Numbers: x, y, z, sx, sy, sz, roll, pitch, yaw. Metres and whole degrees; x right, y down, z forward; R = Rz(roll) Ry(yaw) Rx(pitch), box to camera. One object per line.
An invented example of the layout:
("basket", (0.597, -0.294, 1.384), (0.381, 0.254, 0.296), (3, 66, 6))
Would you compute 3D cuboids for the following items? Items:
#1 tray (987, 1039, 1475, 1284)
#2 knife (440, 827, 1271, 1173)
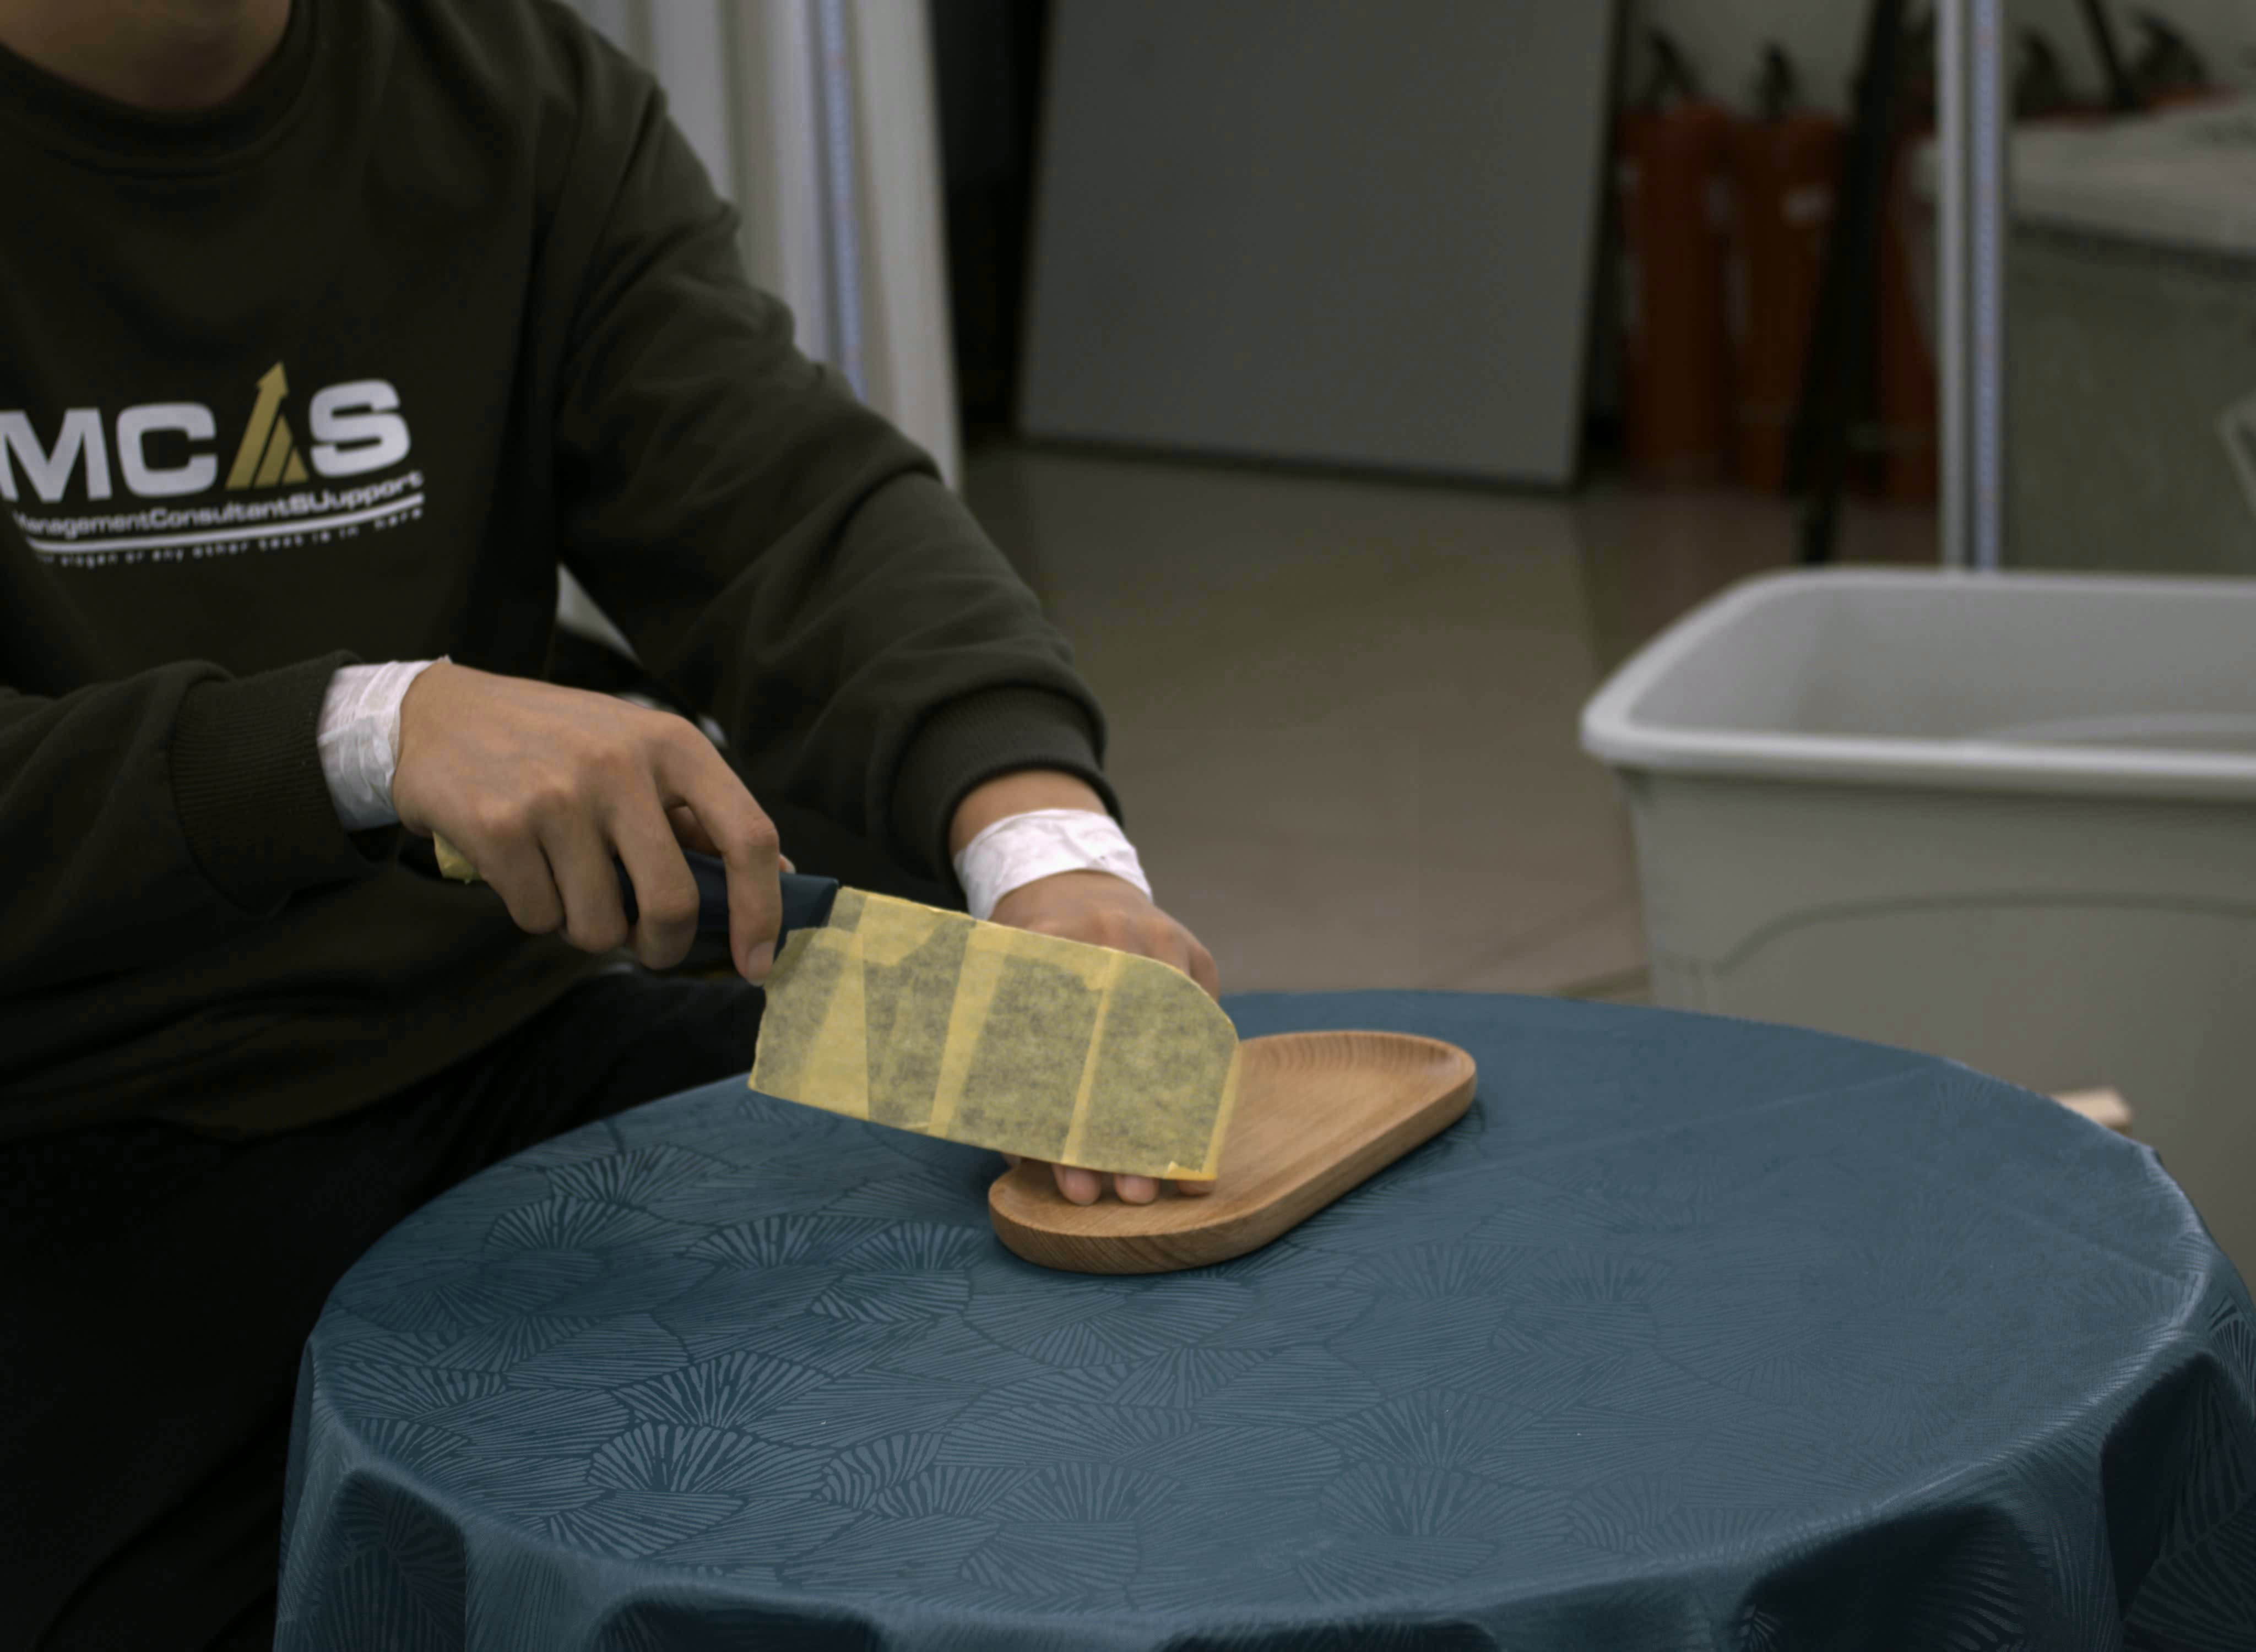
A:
("tray", (0.037, 0.109, 1.782), (0.102, 0.020, 0.228), (2, 16, 30))
("knife", (-0.090, 0.055, 1.752), (0.287, 0.082, 0.027), (16, -7, 8))
